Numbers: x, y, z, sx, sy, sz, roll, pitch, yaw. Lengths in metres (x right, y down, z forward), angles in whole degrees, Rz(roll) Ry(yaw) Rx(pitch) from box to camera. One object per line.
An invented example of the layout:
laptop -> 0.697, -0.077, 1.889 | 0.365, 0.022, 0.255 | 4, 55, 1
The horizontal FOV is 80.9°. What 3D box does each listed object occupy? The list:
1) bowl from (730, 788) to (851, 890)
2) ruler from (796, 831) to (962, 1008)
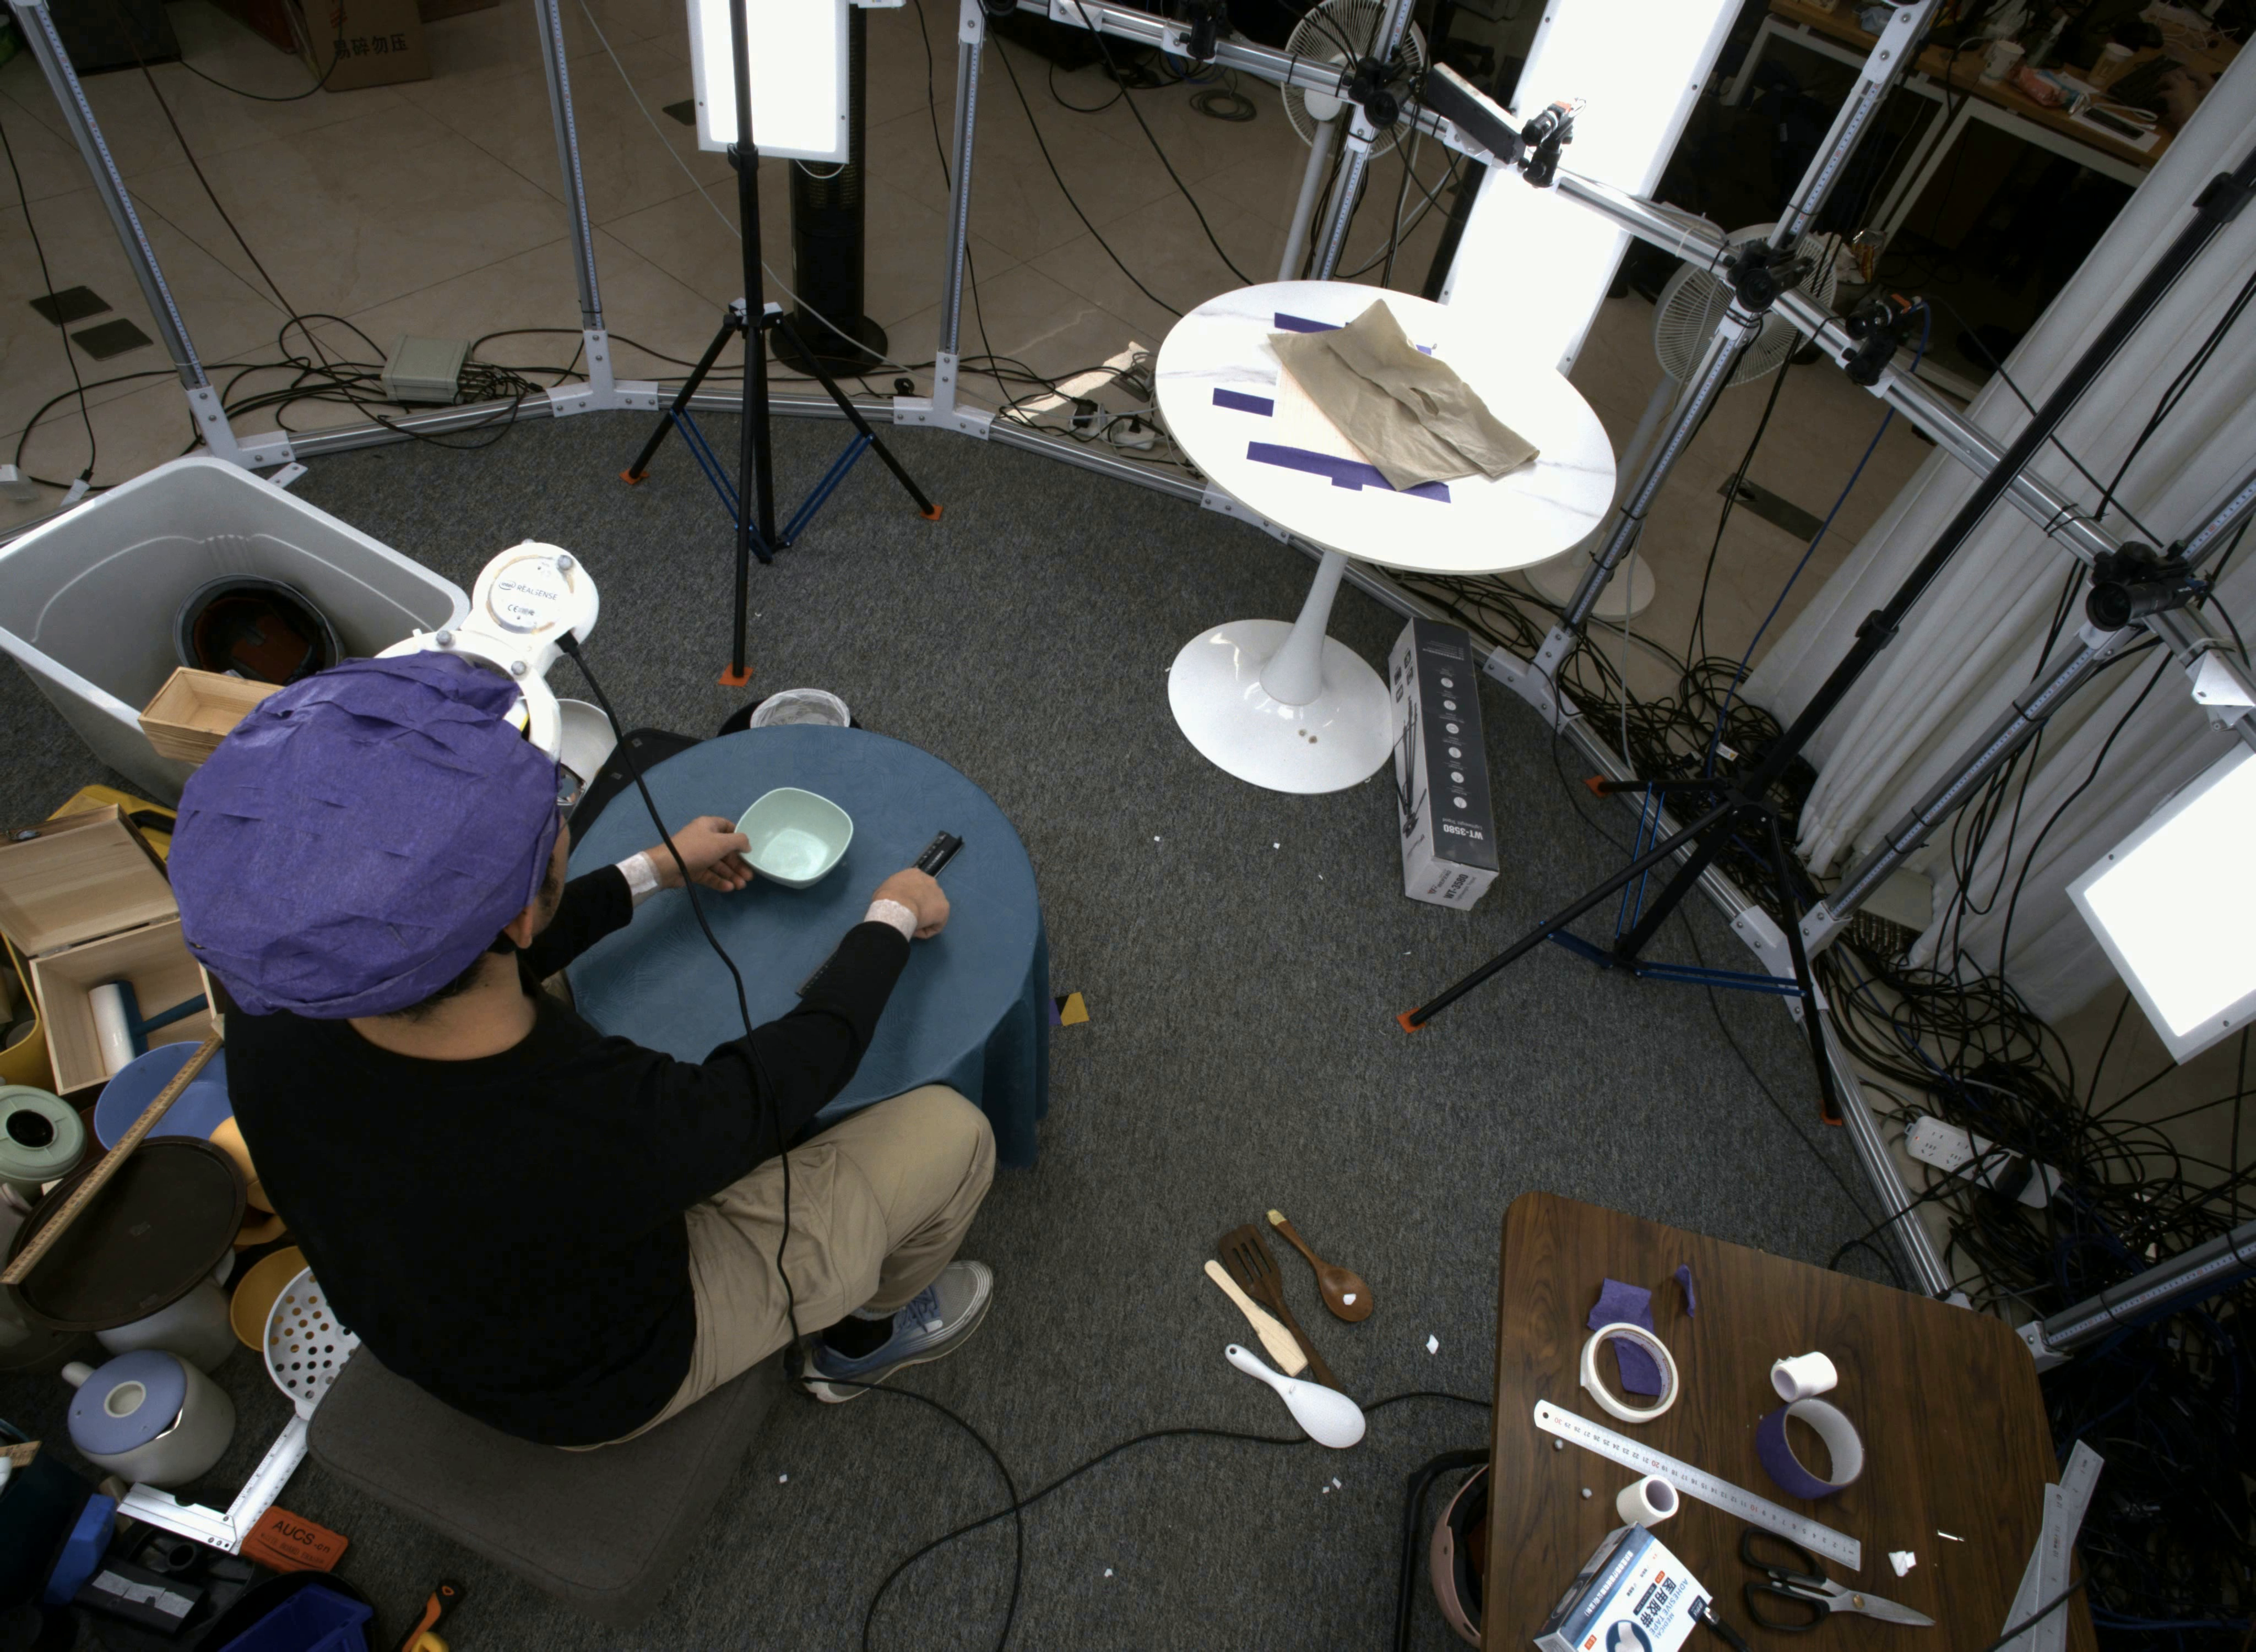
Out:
bowl -> -0.431, 0.025, 1.661 | 0.151, 0.060, 0.148 | 9, 50, -10
ruler -> -0.312, 0.107, 1.658 | 0.038, 0.017, 0.311 | 29, 52, 11
